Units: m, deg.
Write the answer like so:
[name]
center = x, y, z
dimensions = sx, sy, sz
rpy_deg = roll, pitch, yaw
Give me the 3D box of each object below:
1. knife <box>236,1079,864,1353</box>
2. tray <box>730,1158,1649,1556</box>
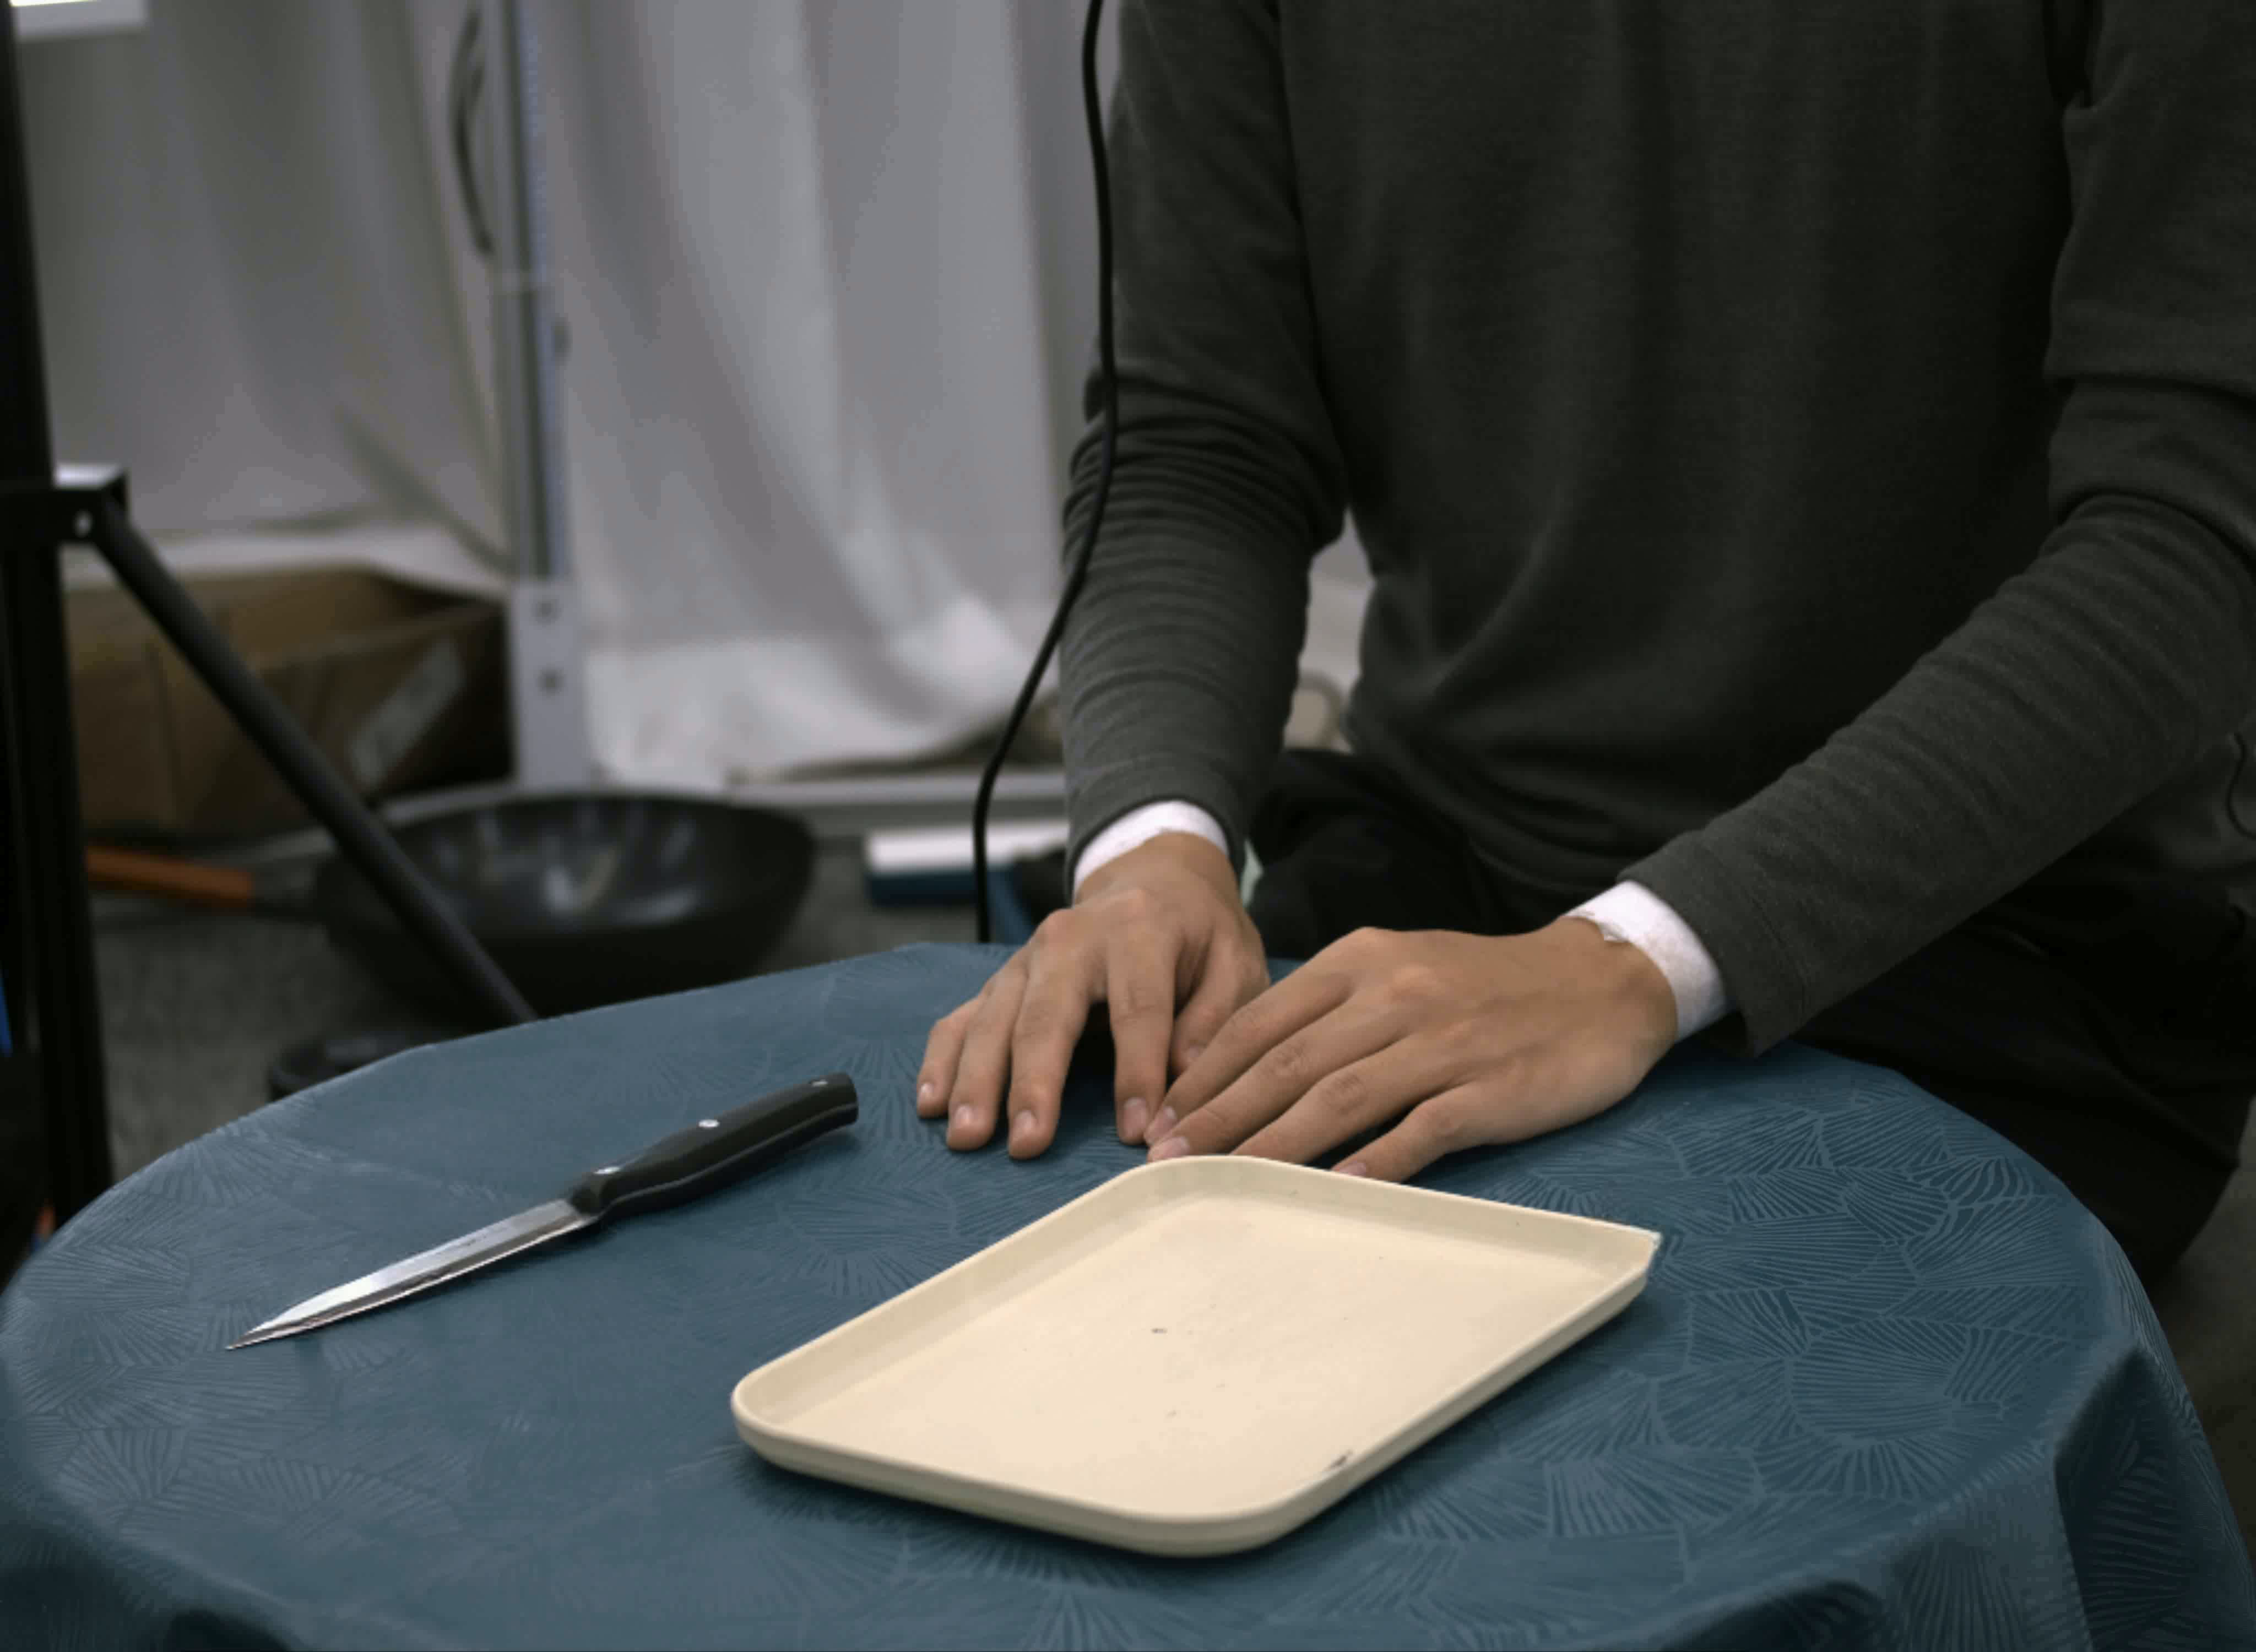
[knife]
center = -0.166, 0.113, 1.548
dimensions = 0.025, 0.016, 0.233
rpy_deg = 10, 23, 43
[tray]
center = 0.021, 0.139, 1.415
dimensions = 0.174, 0.017, 0.235
rpy_deg = 7, 18, 34
